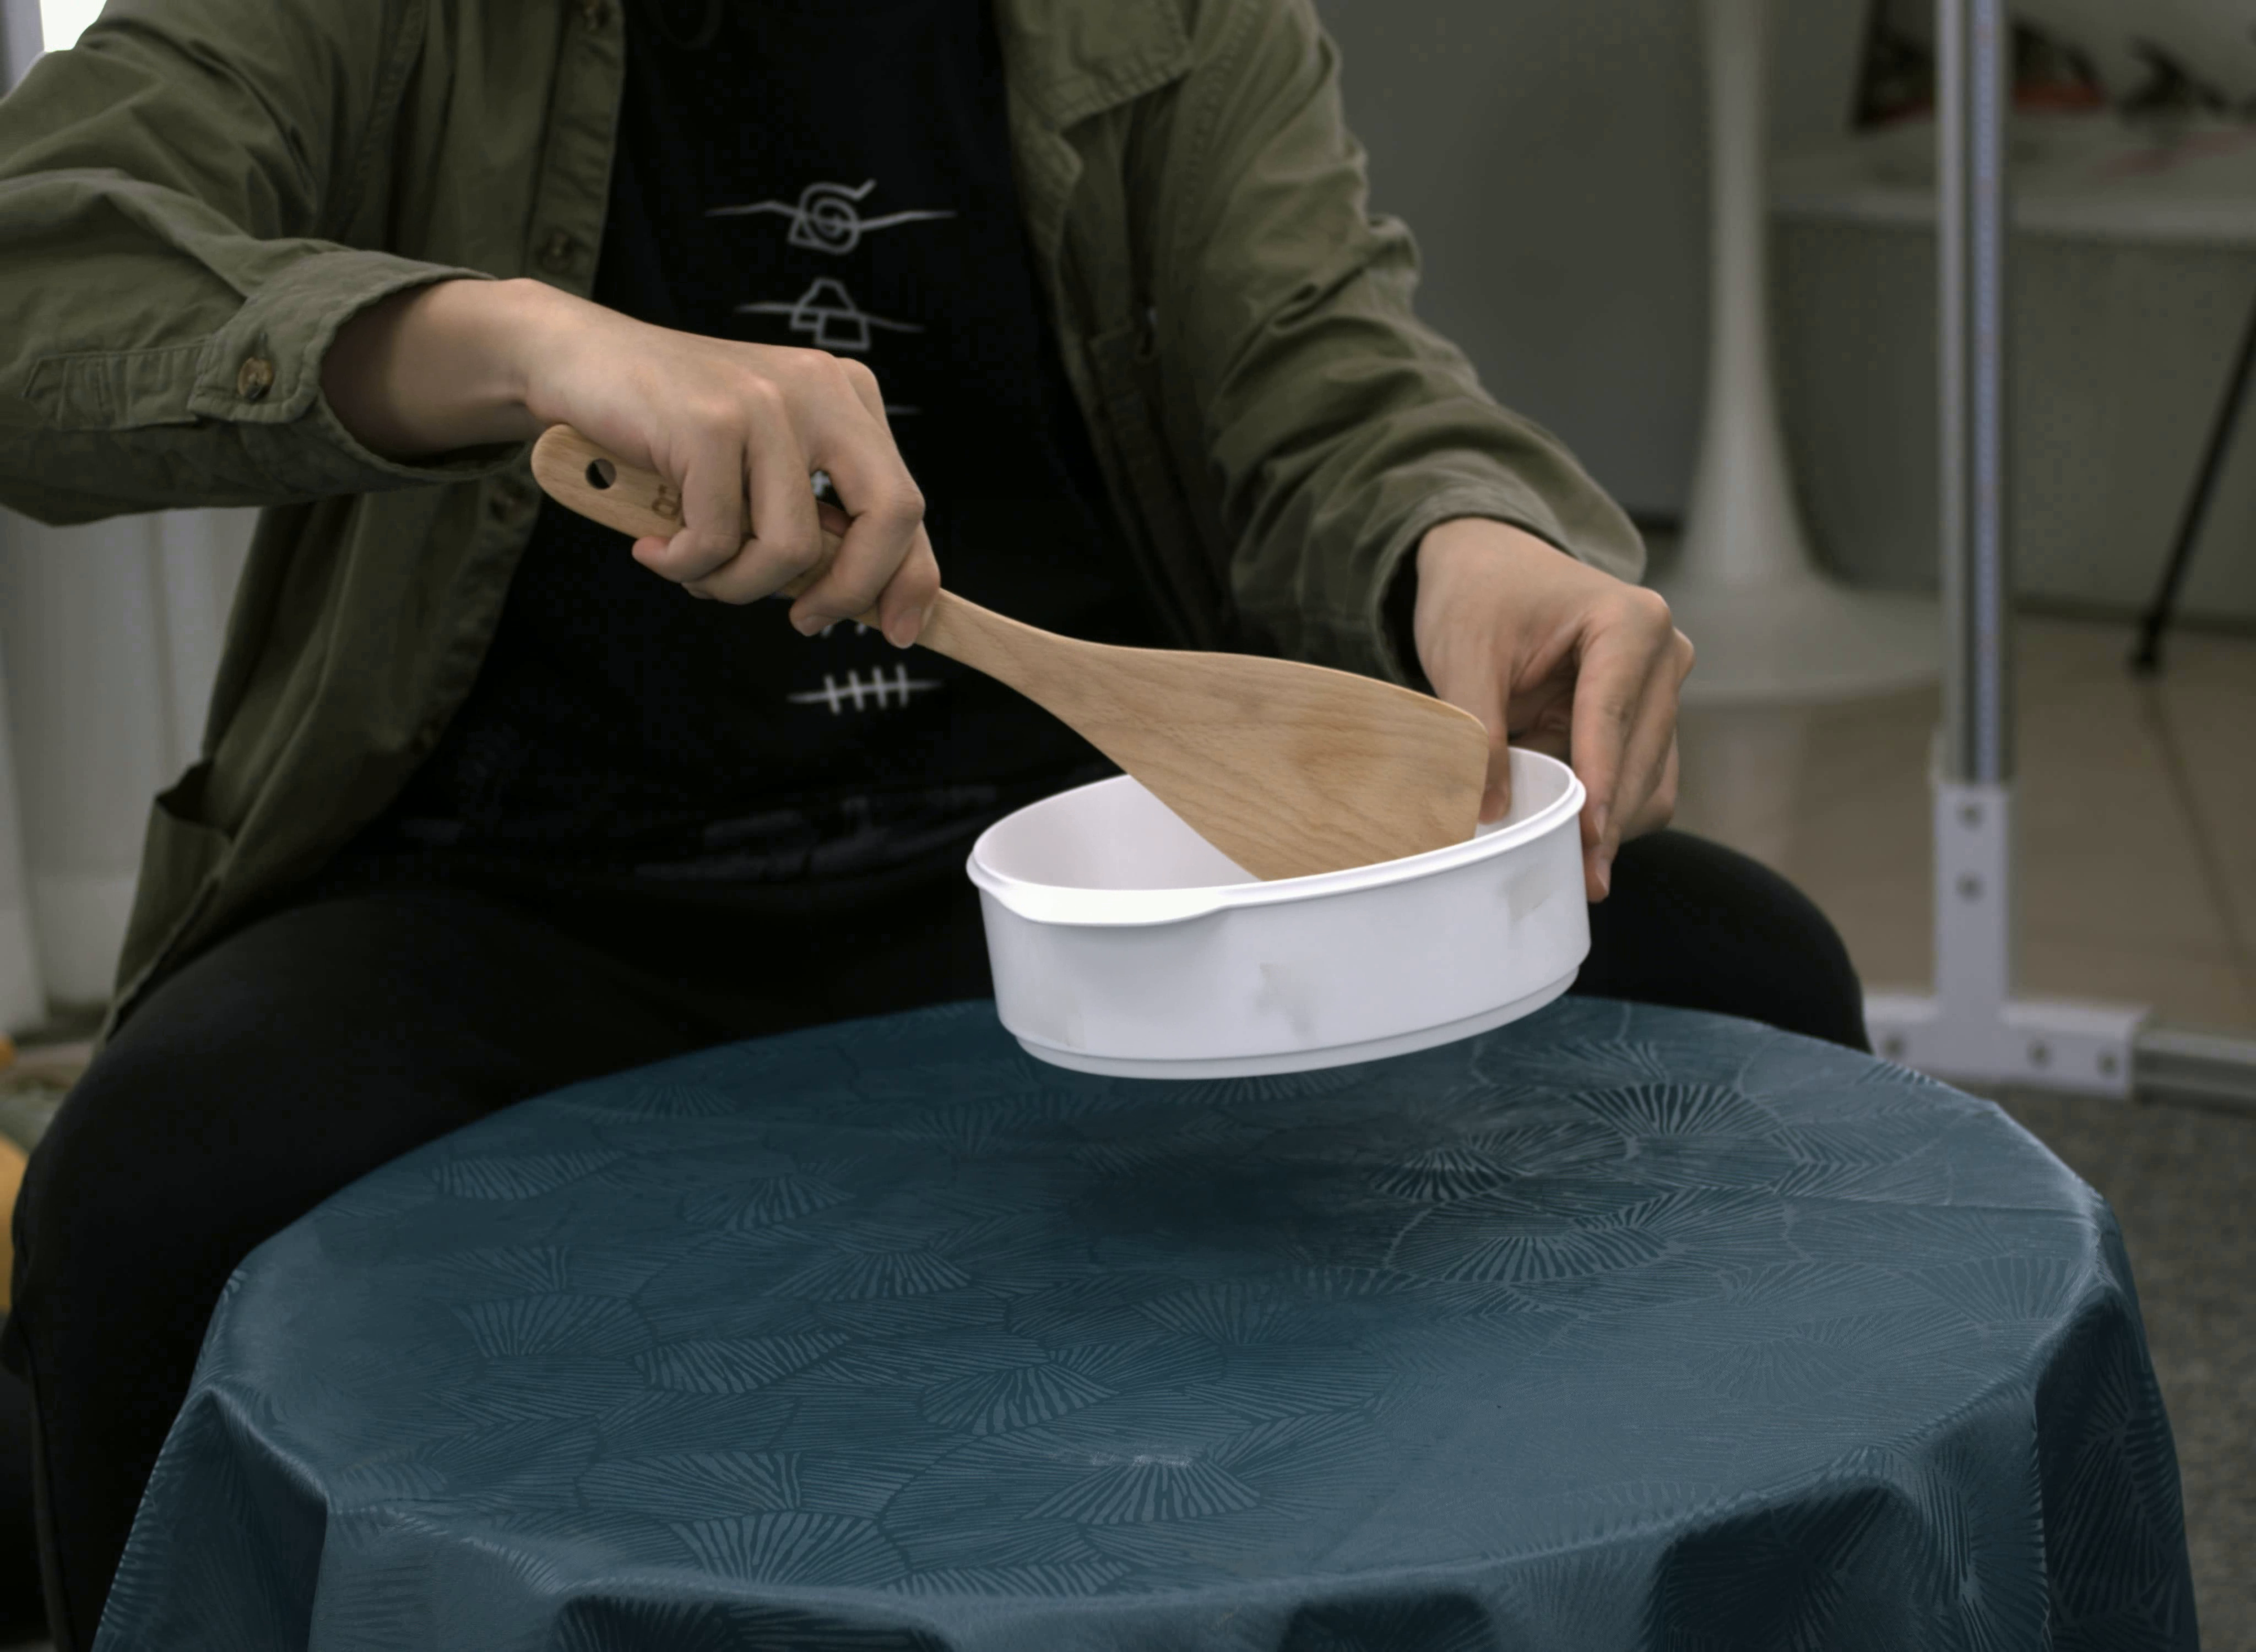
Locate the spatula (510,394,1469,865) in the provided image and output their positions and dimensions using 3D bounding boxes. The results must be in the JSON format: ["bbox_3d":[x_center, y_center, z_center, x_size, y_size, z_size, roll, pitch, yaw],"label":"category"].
[{"bbox_3d":[-0.043,-0.064,1.695,0.325,0.081,0.016,23,9,1],"label":"spatula"}]

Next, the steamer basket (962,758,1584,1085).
[{"bbox_3d":[0.049,0.030,1.726,0.203,0.070,0.227,0,13,34],"label":"steamer basket"}]
